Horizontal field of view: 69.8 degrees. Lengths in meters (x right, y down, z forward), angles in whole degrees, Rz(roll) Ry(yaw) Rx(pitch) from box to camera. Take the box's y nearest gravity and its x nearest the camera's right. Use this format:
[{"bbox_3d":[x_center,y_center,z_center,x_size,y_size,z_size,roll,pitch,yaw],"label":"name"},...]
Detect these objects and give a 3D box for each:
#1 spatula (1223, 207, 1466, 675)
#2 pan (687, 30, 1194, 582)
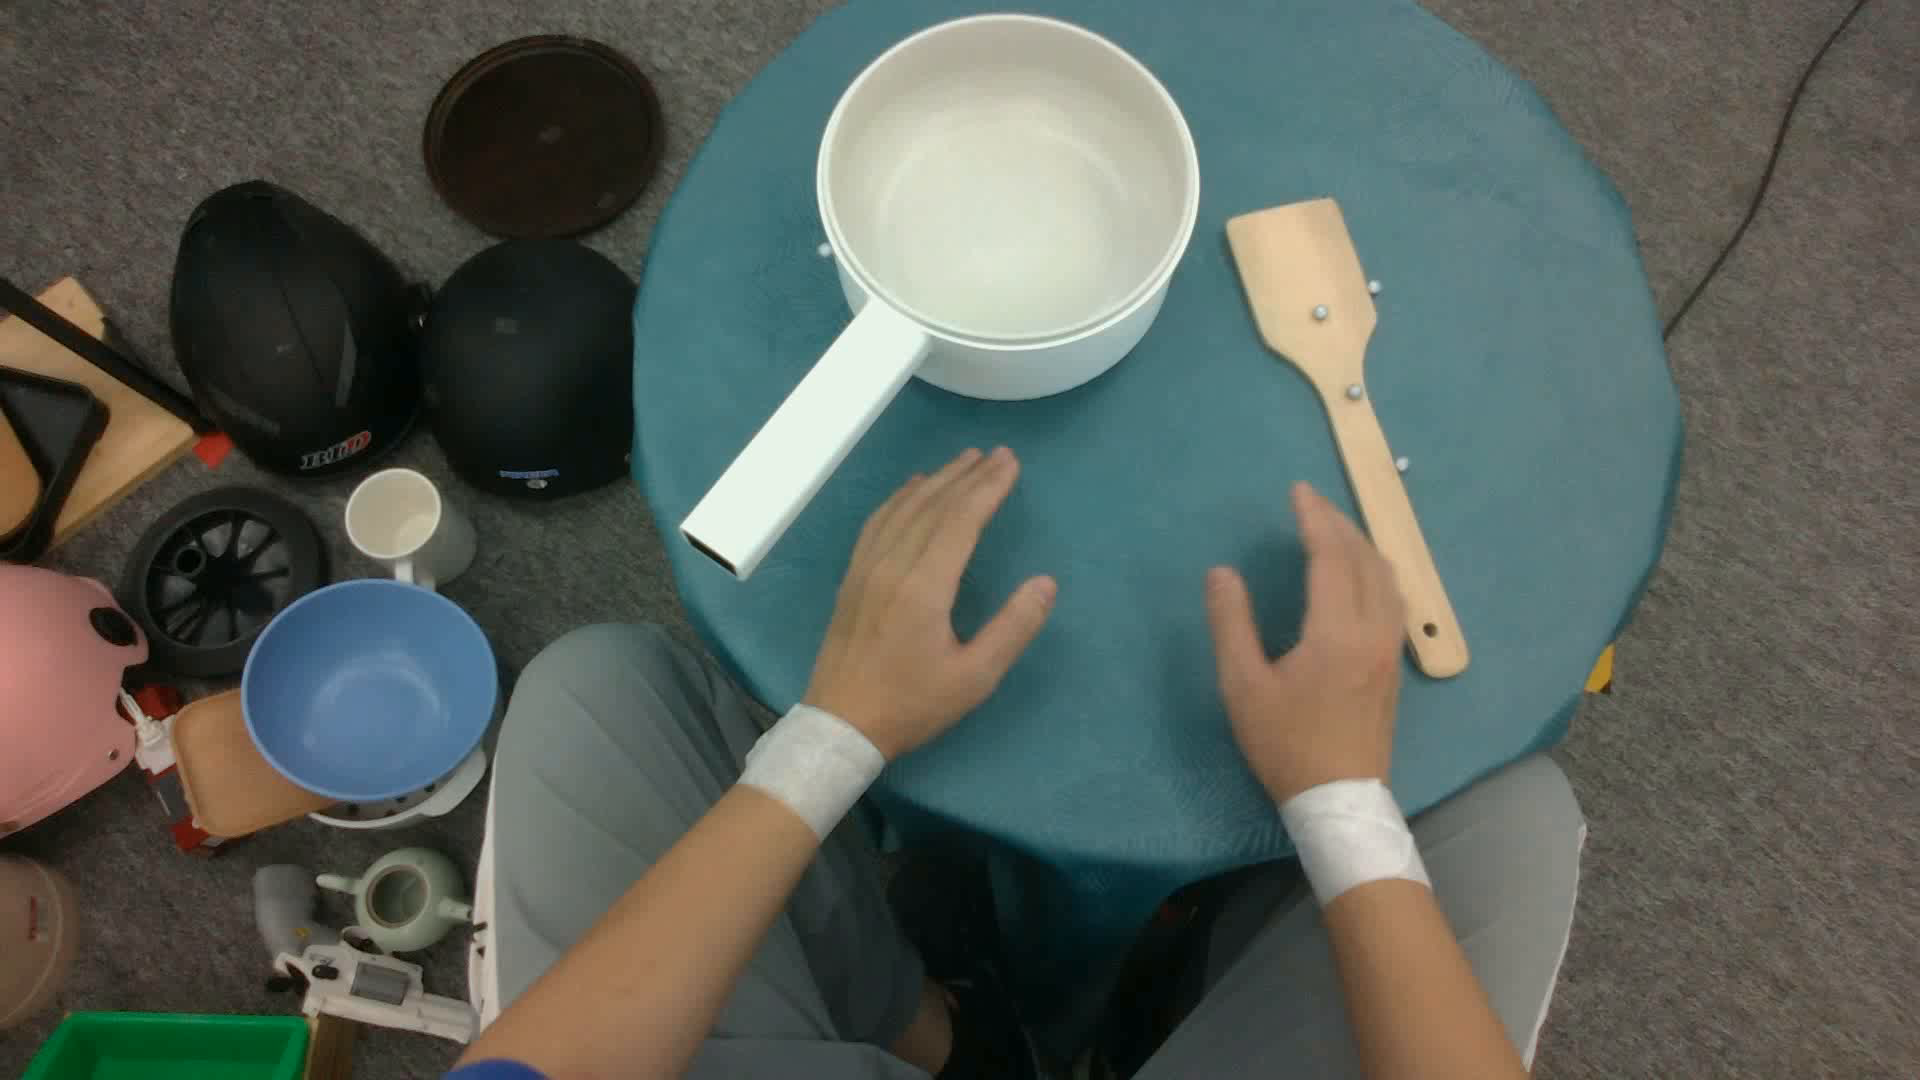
[{"bbox_3d":[0.228,-0.062,0.789,0.072,0.010,0.293,-13,71,-5],"label":"spatula"},{"bbox_3d":[-0.018,-0.117,0.763,0.201,0.102,0.356,34,74,9],"label":"pan"}]
